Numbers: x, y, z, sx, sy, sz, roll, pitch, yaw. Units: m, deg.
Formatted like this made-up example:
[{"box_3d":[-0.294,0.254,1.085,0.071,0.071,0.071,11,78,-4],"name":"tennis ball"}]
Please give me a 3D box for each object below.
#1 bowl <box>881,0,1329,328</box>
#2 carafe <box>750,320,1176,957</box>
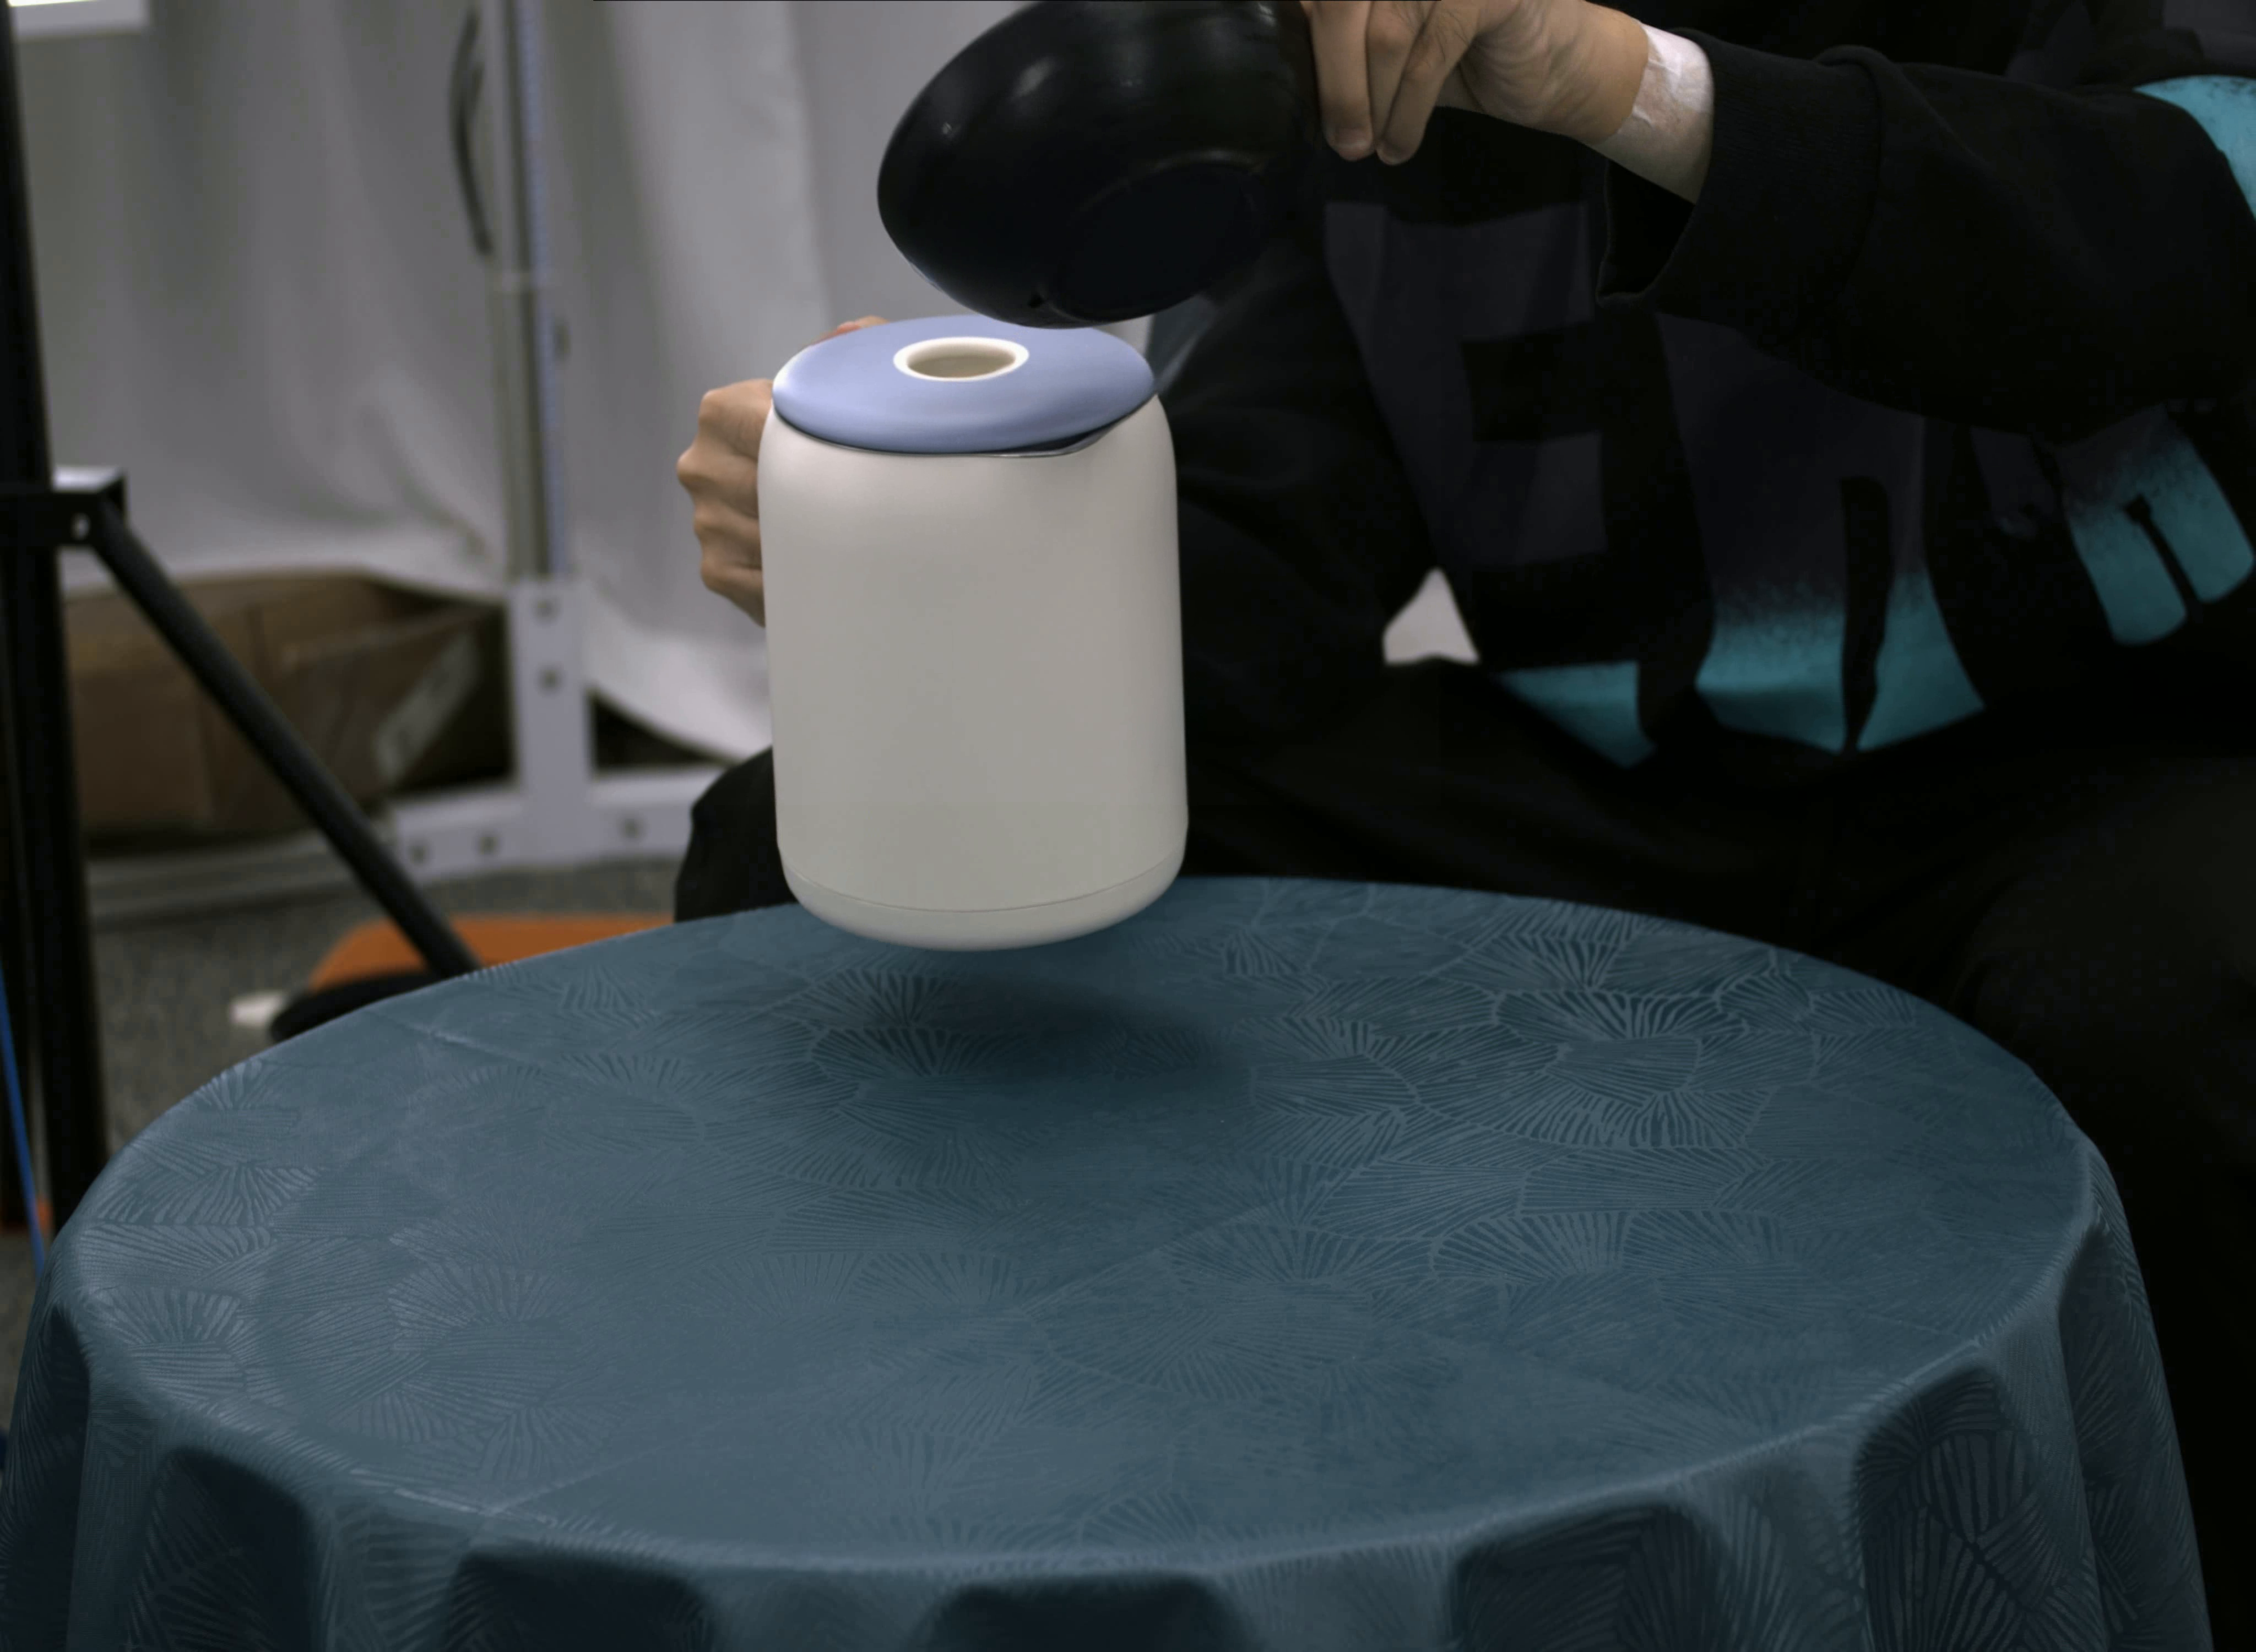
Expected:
[{"box_3d":[0.001,-0.187,1.542,0.137,0.140,0.050,-10,60,-26],"name":"bowl"},{"box_3d":[-0.064,-0.066,1.696,0.129,0.182,0.195,-12,20,-30],"name":"carafe"}]
